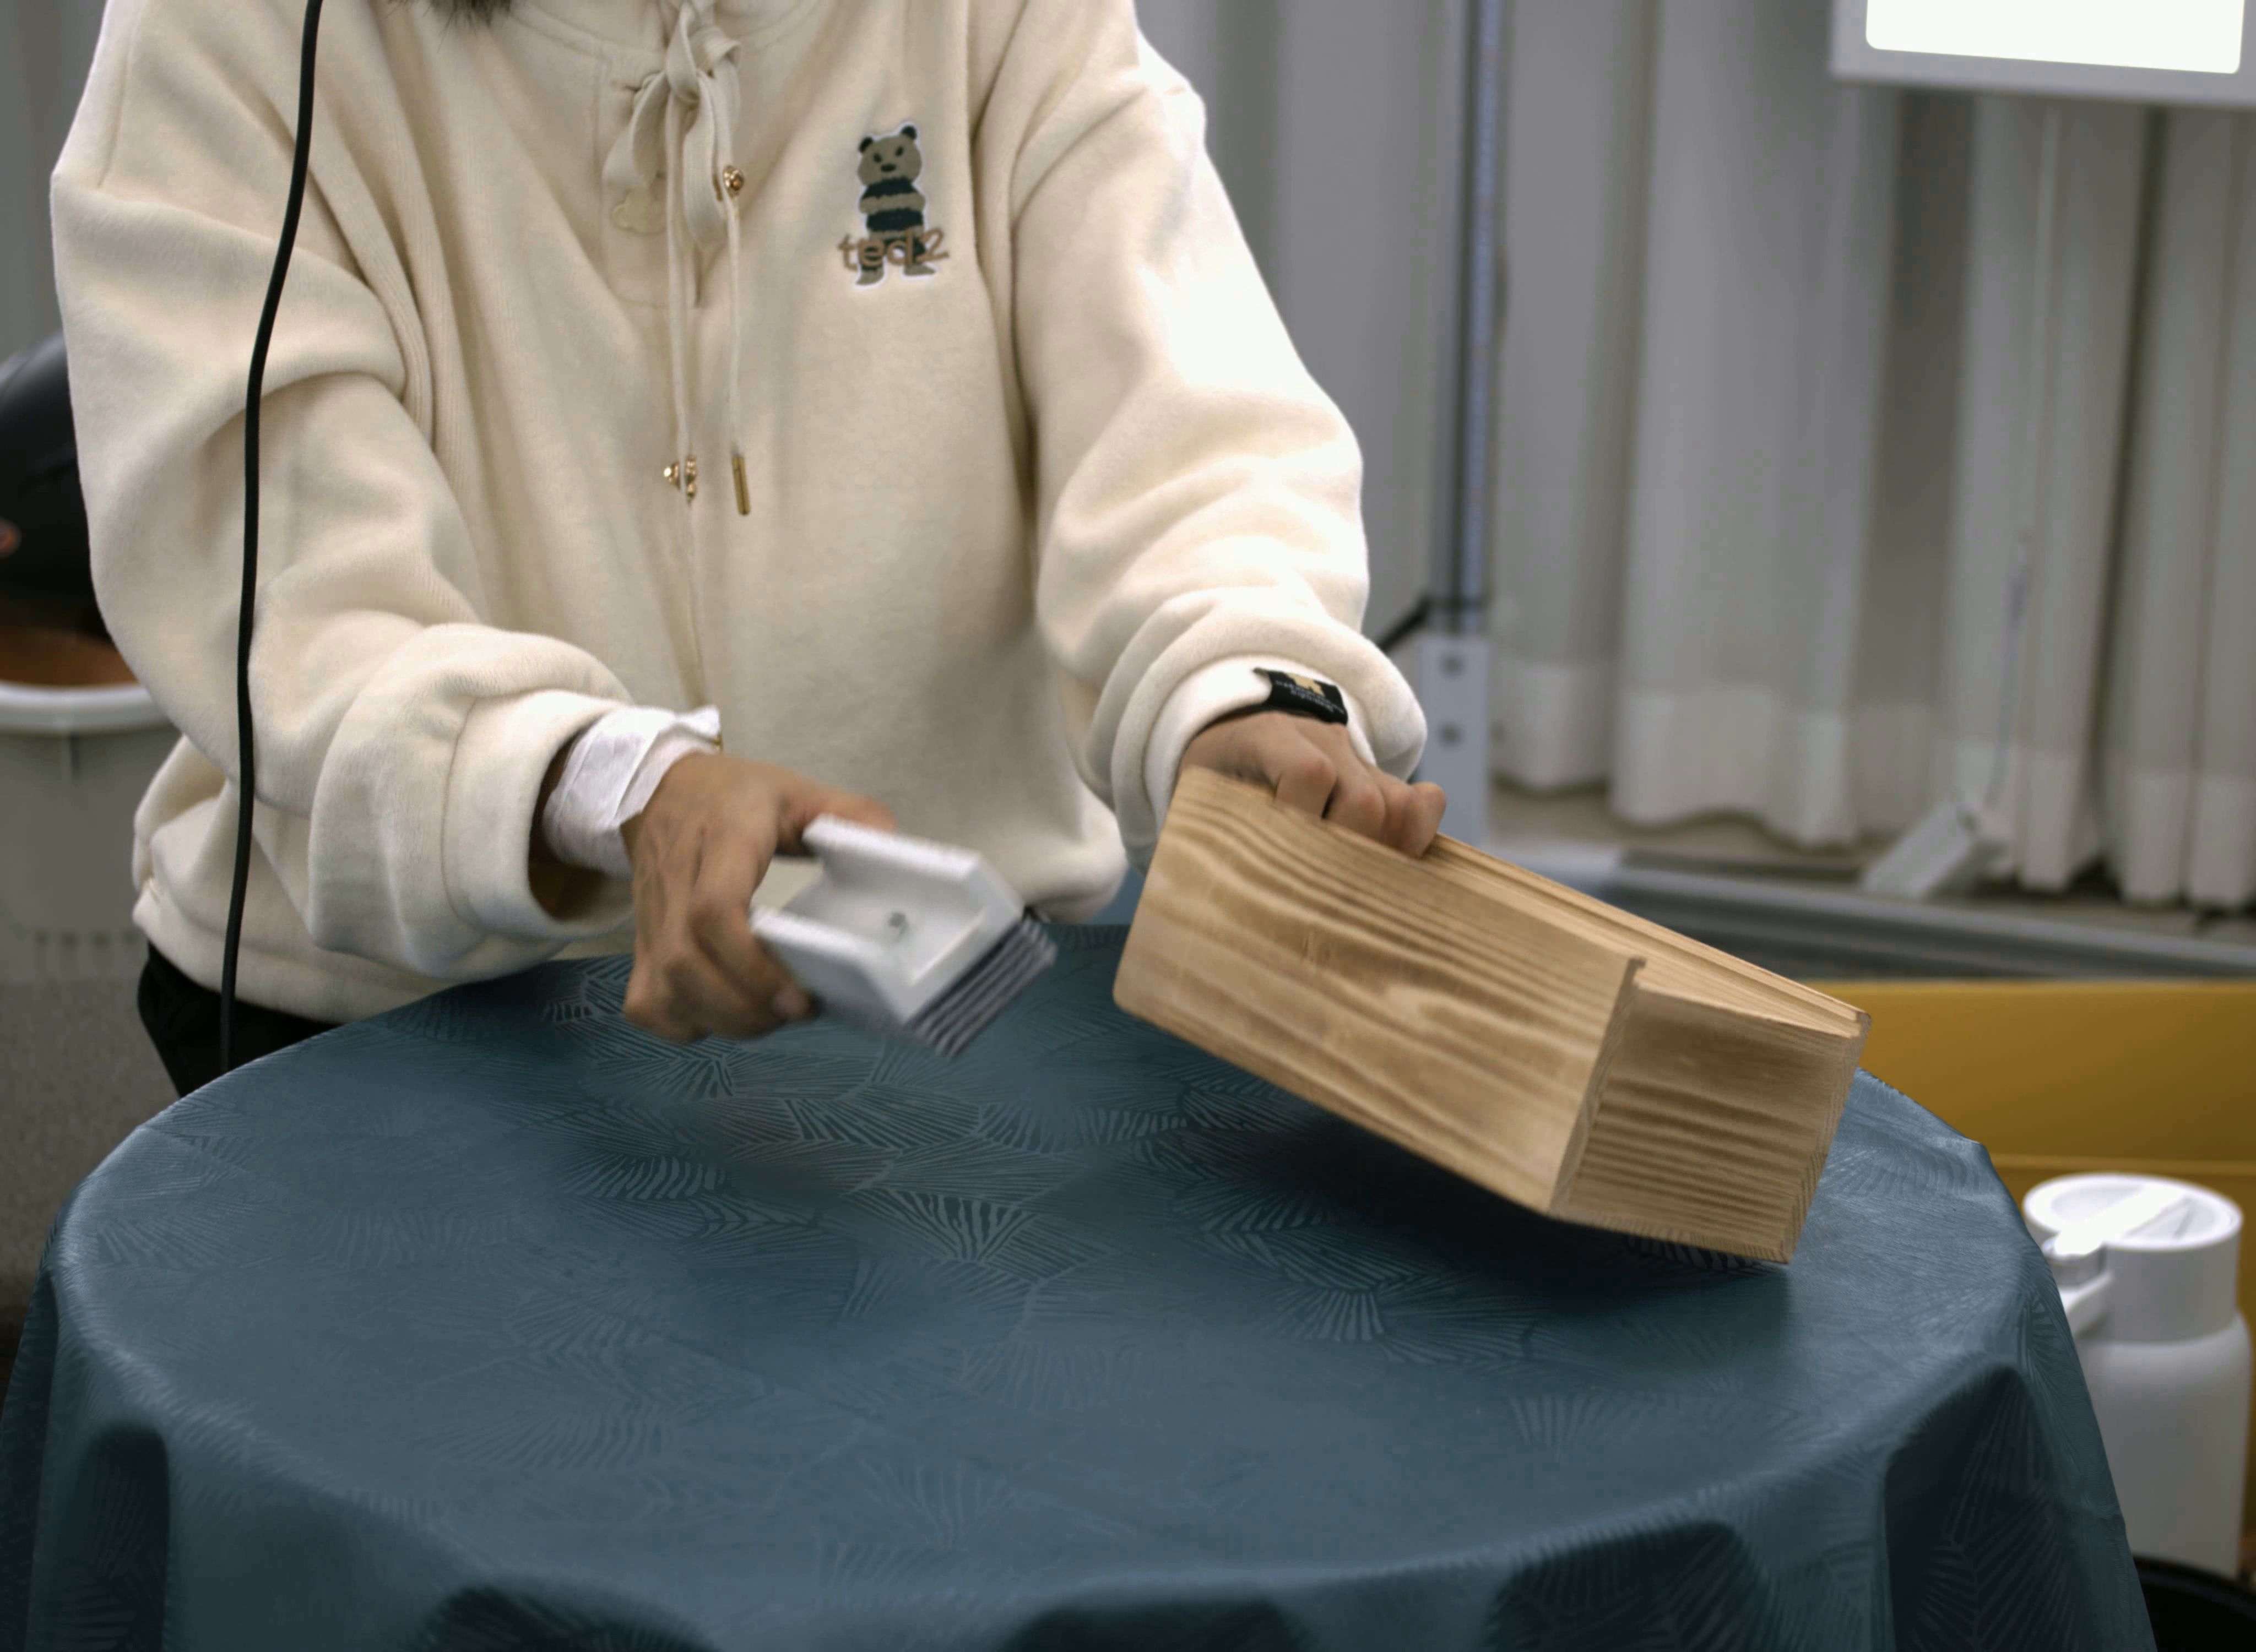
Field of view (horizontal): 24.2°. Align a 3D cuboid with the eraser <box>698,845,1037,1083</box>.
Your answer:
[{"bbox_3d":[-0.079,0.041,1.593,0.050,0.047,0.133,-44,21,-16],"label":"eraser"}]

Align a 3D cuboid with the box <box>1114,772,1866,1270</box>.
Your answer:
[{"bbox_3d":[0.106,0.057,1.600,0.108,0.080,0.208,12,8,-41],"label":"box"}]
